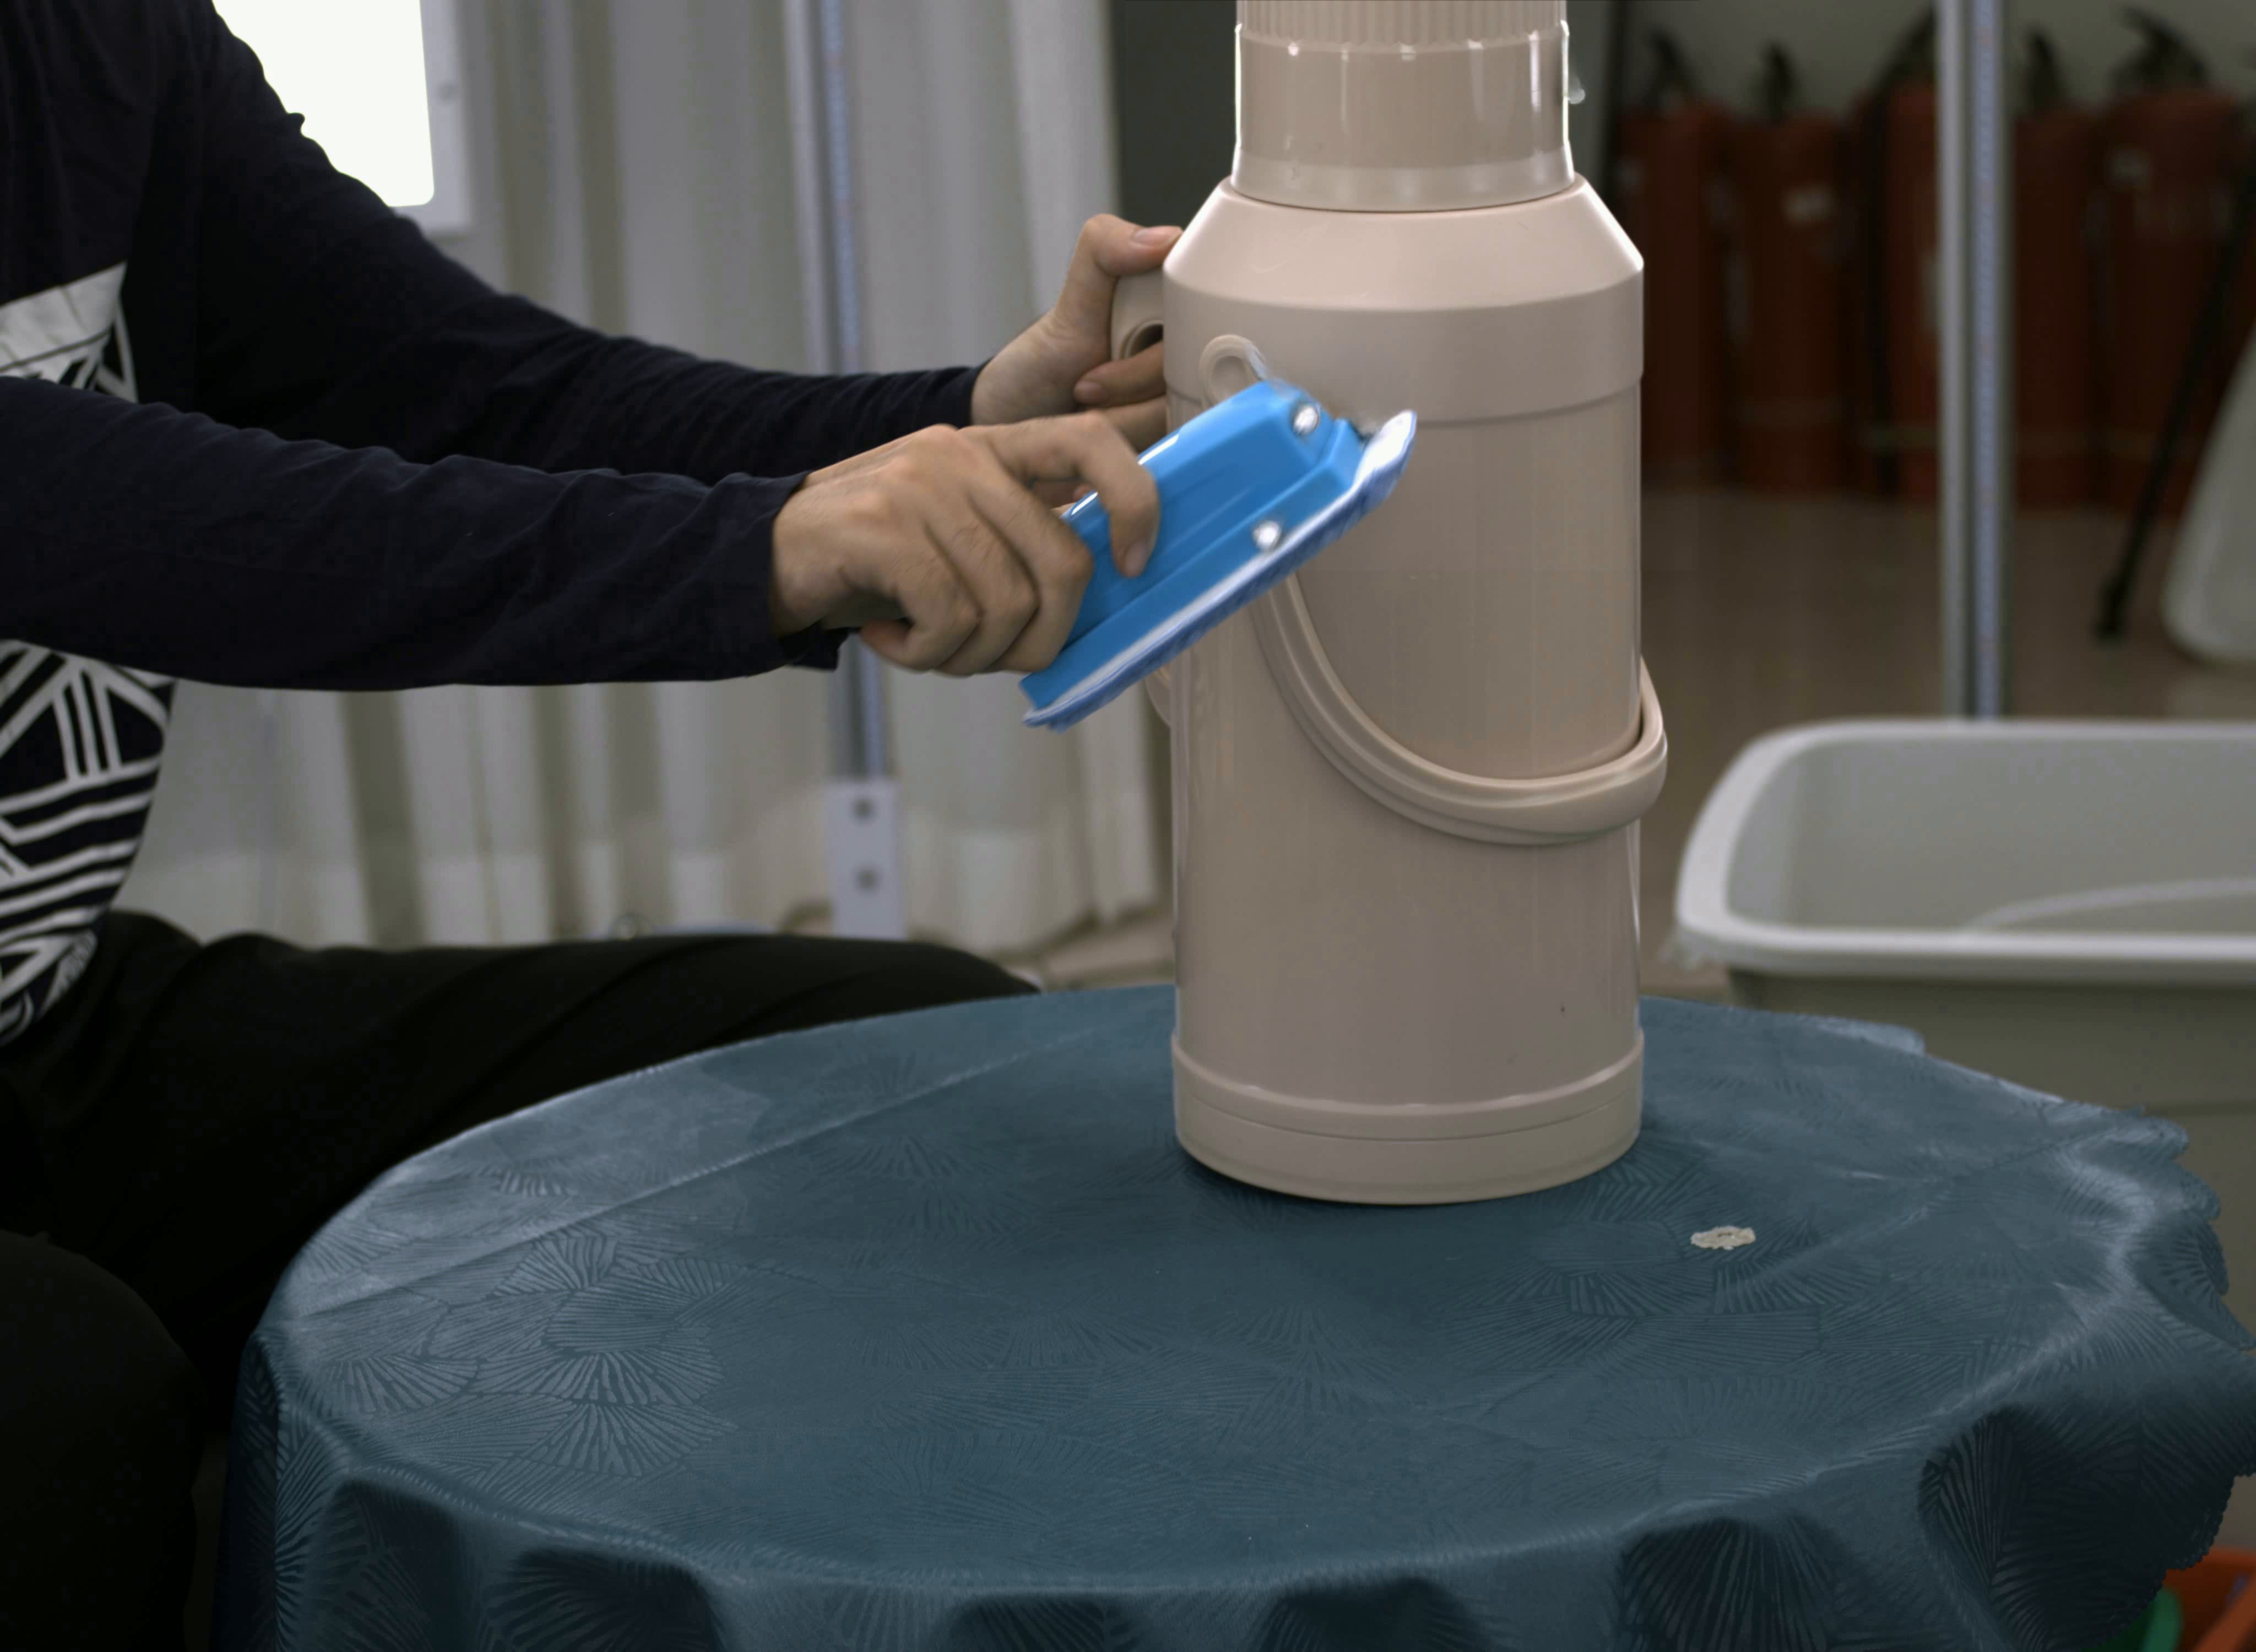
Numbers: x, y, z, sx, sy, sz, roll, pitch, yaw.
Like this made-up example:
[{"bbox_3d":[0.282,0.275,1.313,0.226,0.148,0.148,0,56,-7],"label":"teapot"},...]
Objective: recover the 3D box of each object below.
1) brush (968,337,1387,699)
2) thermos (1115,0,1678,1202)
[{"bbox_3d":[0.008,-0.096,1.601,0.144,0.056,0.083,-34,7,22],"label":"brush"},{"bbox_3d":[0.083,-0.094,1.770,0.209,0.410,0.172,10,21,40],"label":"thermos"}]
